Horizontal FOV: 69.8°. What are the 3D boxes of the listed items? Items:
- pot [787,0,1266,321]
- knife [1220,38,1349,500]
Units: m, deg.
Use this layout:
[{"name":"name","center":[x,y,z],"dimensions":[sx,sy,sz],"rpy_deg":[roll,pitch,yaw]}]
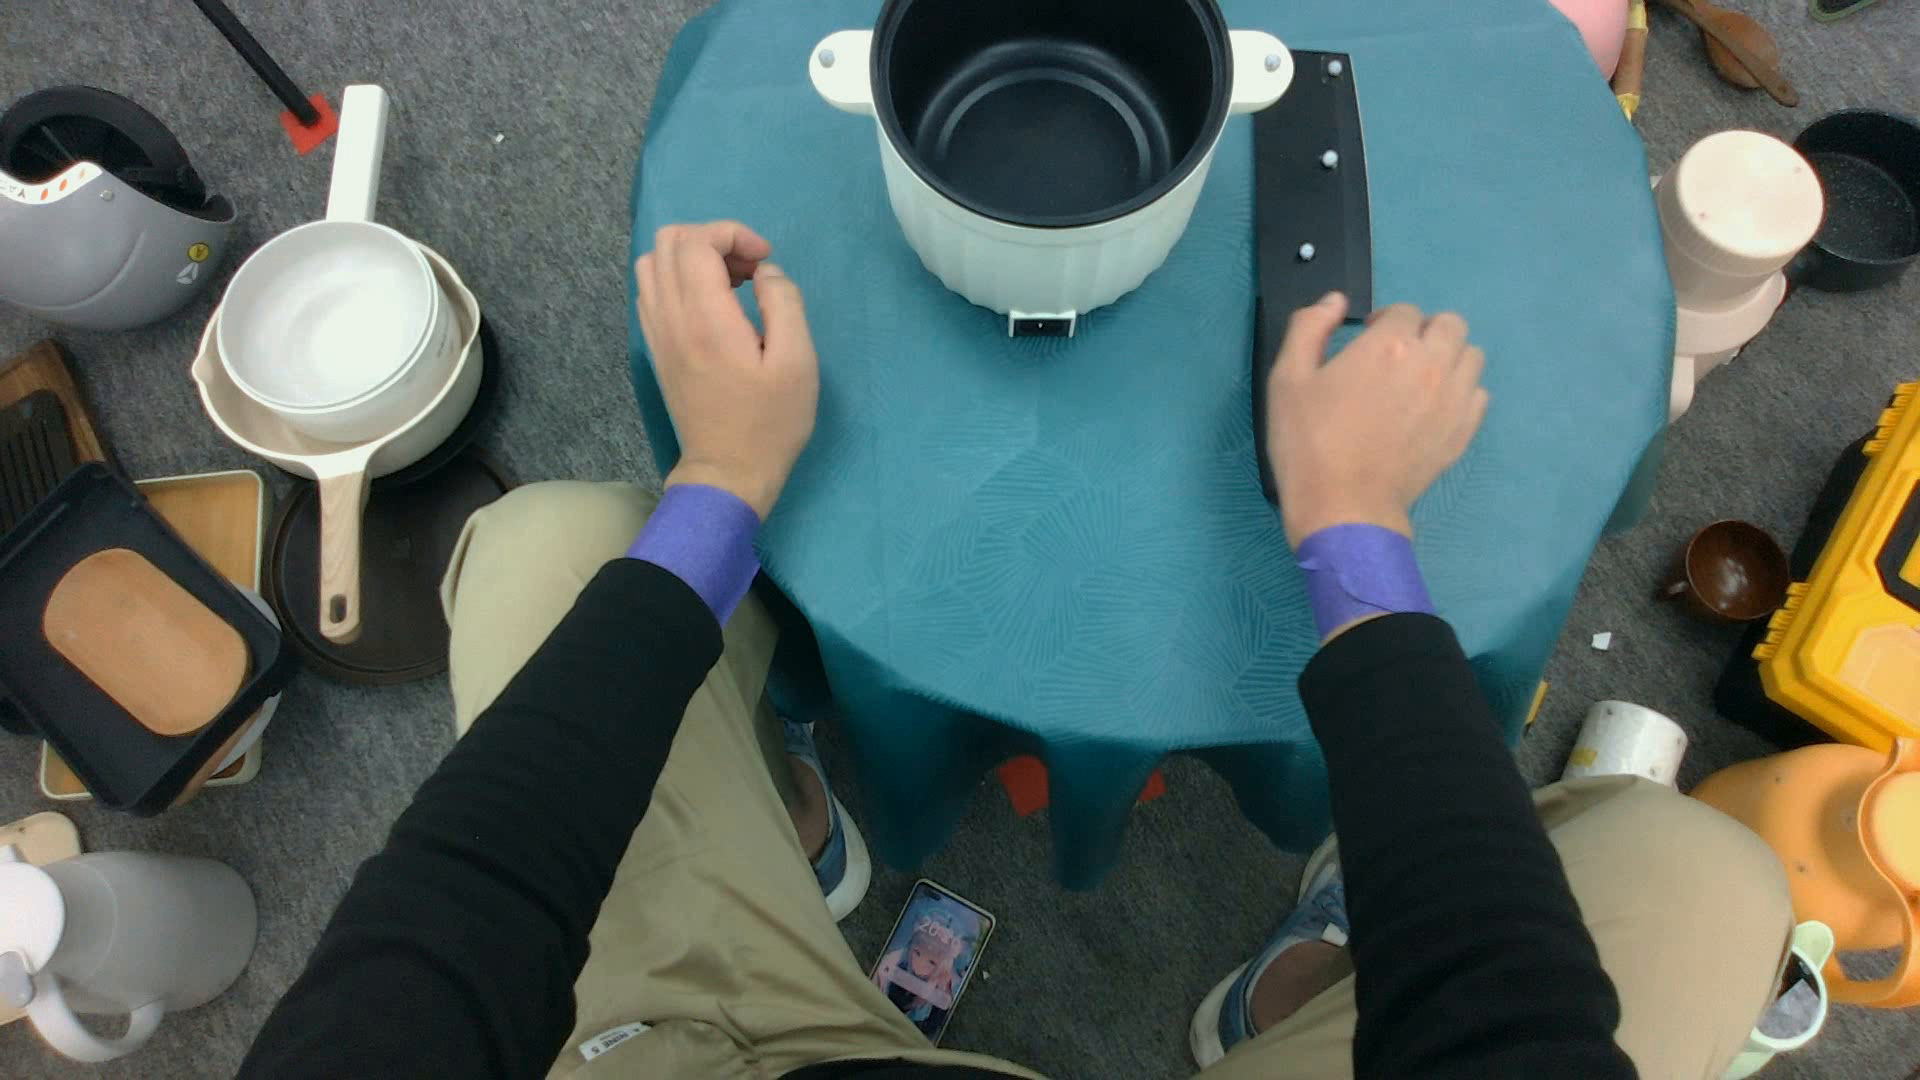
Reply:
[{"name":"pot","center":[0.032,-0.231,0.751],"dimensions":[0.240,0.142,0.191],"rpy_deg":[-1,77,-2]},{"name":"knife","center":[0.186,-0.167,0.798],"dimensions":[0.081,0.021,0.303],"rpy_deg":[7,71,0]}]
